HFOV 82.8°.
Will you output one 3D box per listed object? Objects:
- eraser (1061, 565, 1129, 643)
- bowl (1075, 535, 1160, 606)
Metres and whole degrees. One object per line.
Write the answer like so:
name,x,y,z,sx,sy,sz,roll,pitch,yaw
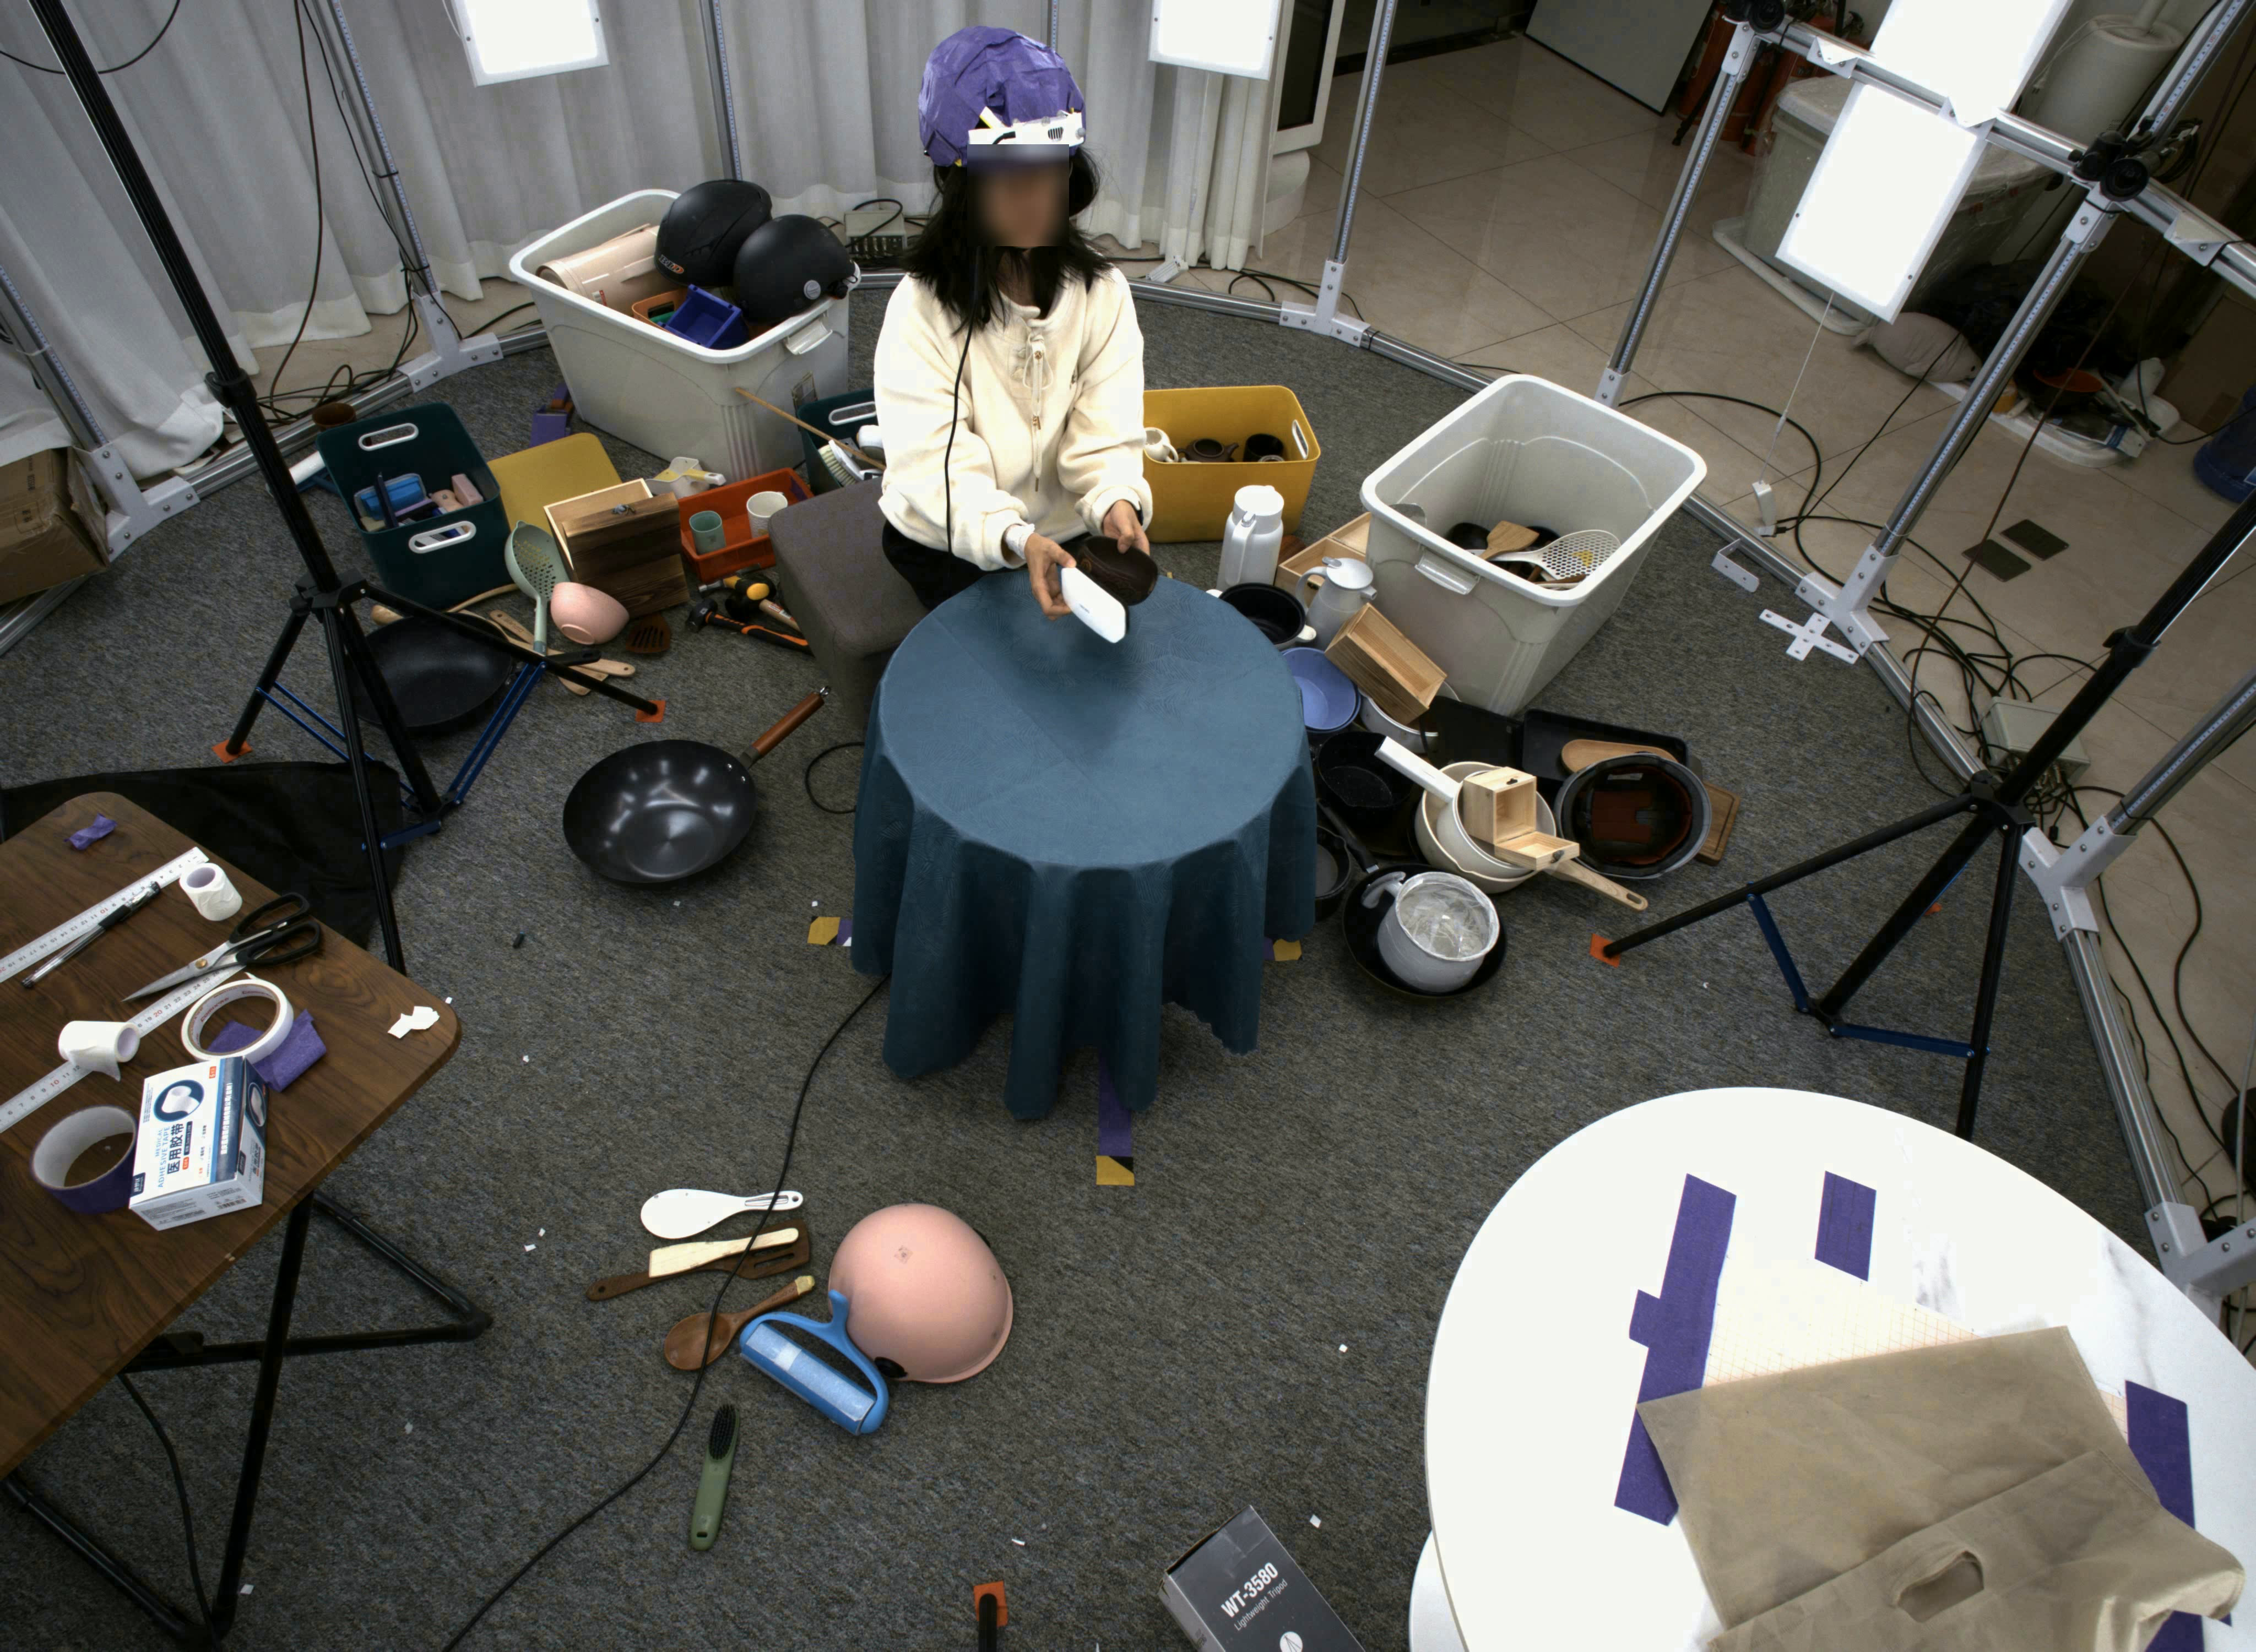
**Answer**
eraser,-0.049,-0.306,1.754,0.035,0.062,0.134,-28,52,-25
bowl,-0.020,-0.352,1.818,0.117,0.069,0.120,20,29,-12
